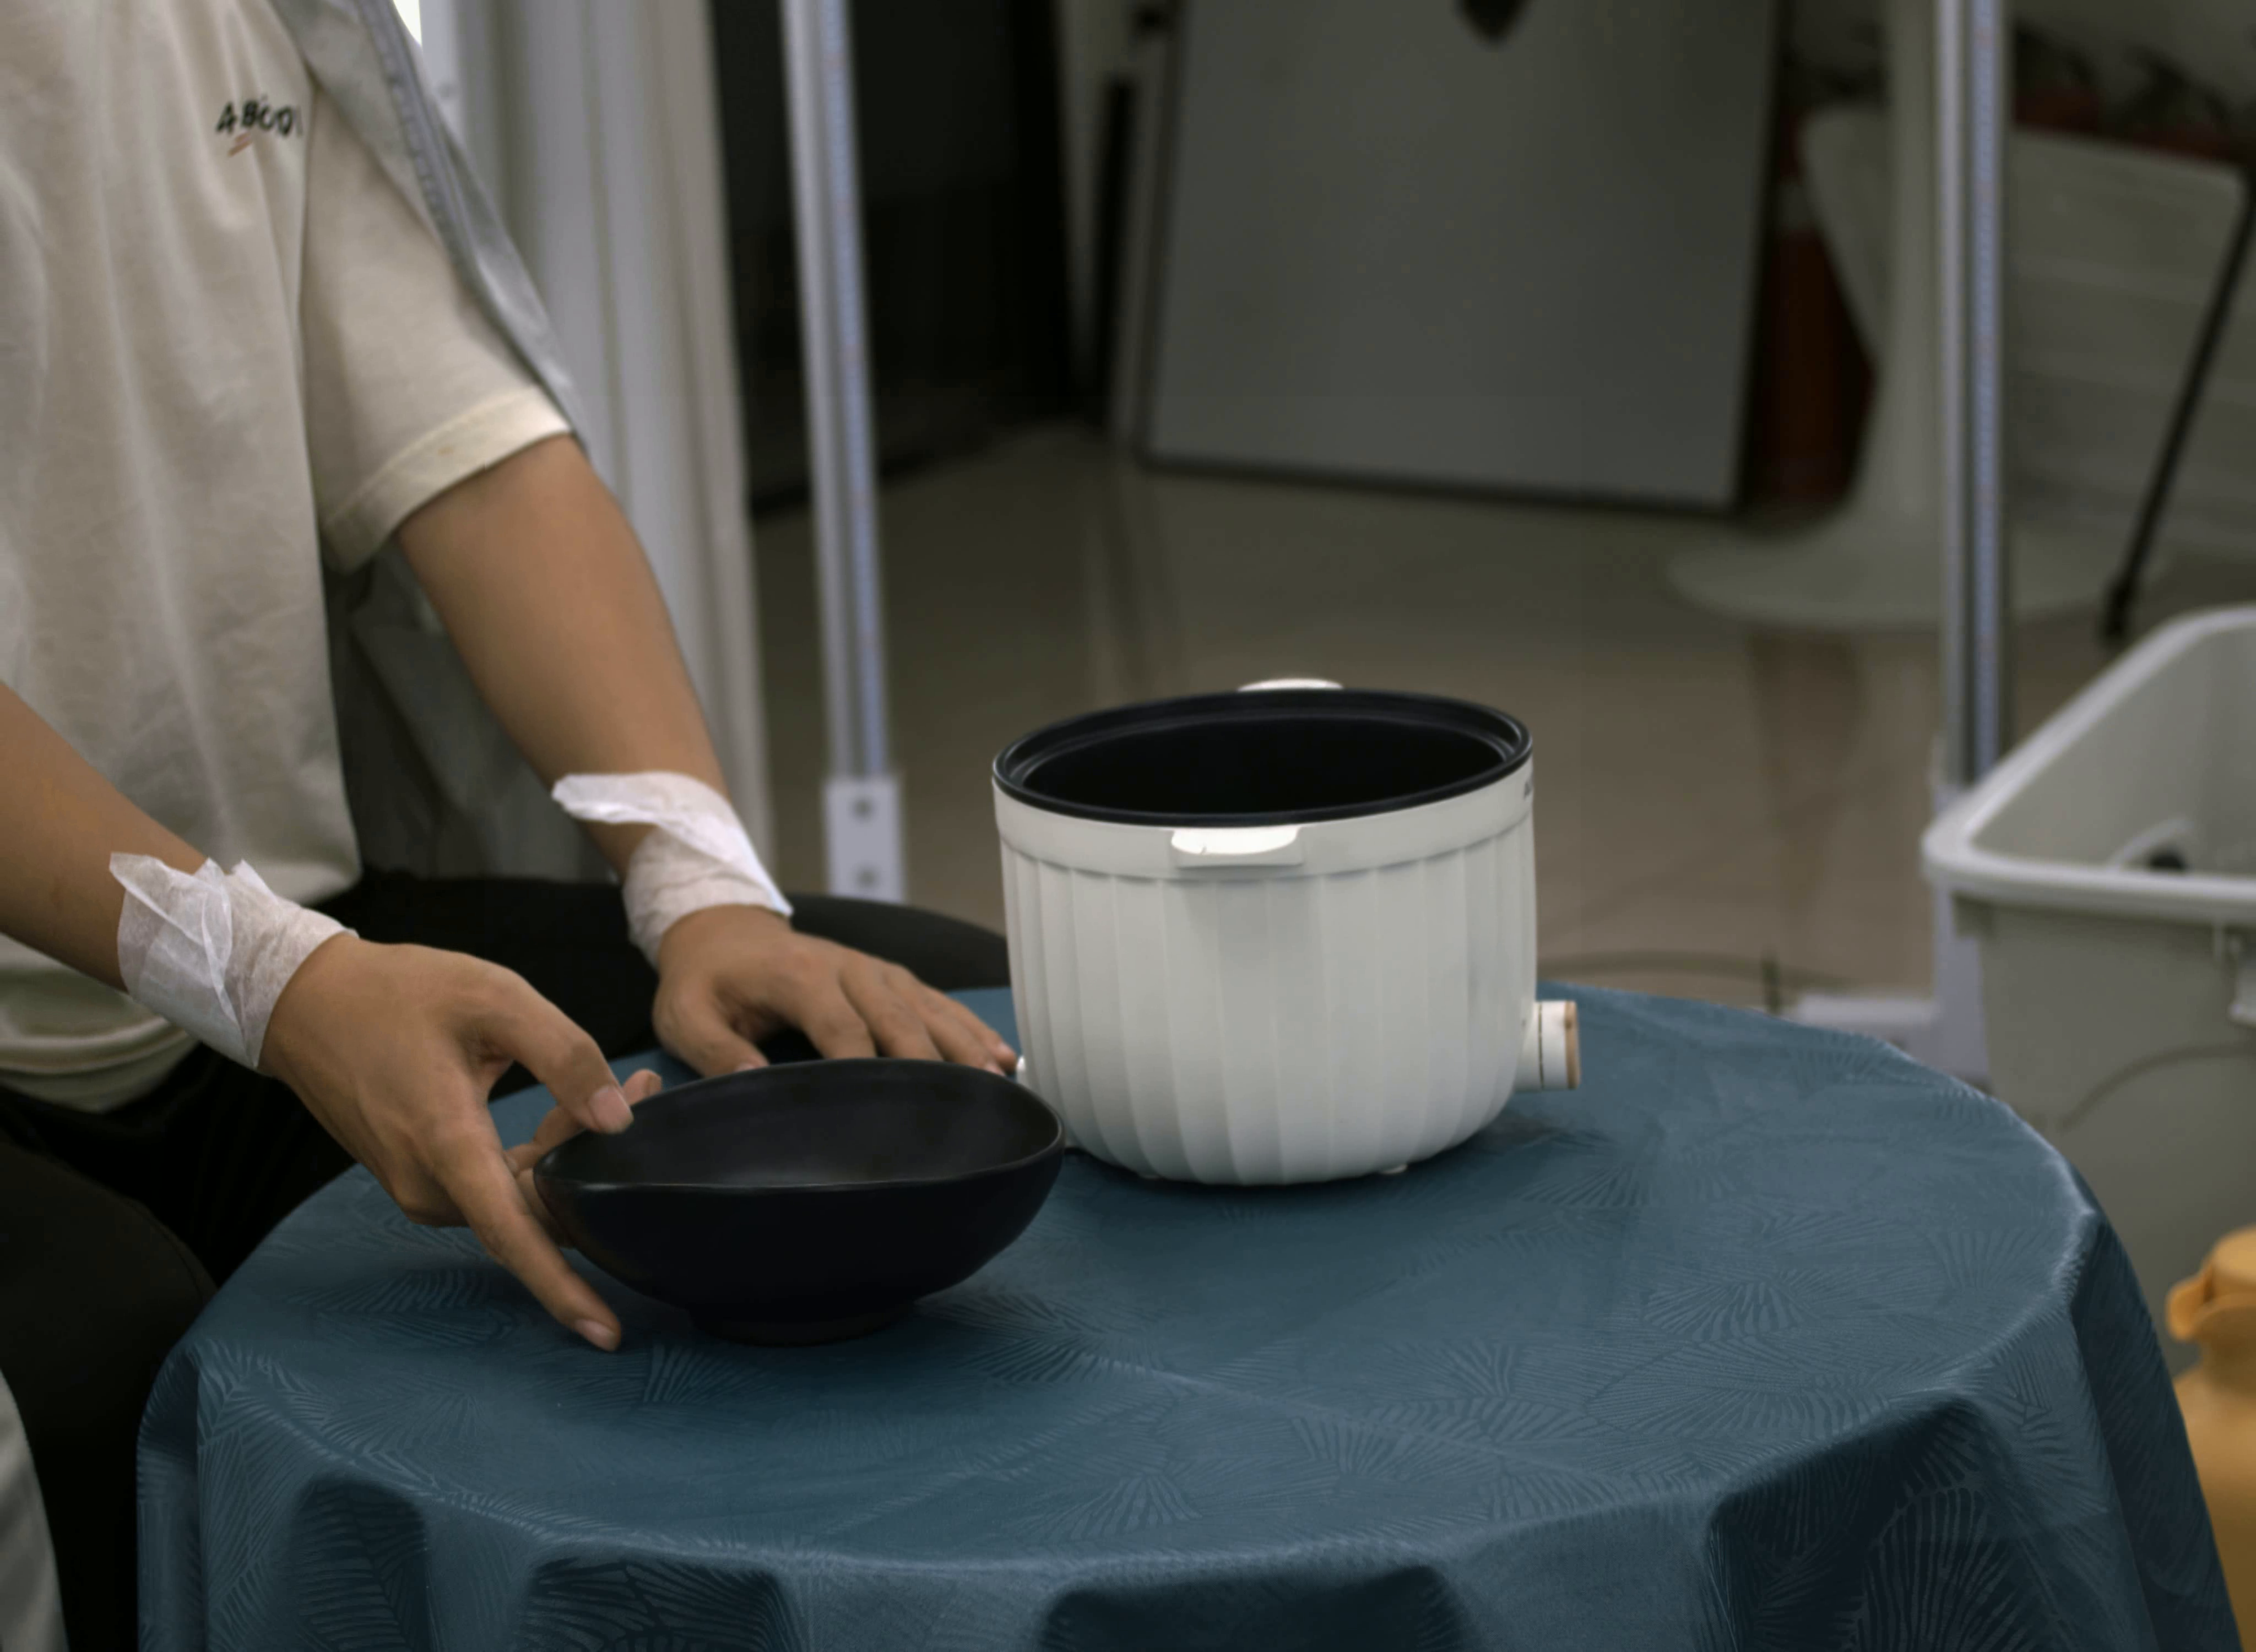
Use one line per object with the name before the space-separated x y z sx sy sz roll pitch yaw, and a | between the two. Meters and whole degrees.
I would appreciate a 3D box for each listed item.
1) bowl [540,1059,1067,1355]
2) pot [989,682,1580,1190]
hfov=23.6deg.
bowl | -0.100 0.122 1.666 0.169 0.067 0.136 -1 13 15
pot | 0.054 0.038 1.806 0.189 0.144 0.240 -6 14 8
